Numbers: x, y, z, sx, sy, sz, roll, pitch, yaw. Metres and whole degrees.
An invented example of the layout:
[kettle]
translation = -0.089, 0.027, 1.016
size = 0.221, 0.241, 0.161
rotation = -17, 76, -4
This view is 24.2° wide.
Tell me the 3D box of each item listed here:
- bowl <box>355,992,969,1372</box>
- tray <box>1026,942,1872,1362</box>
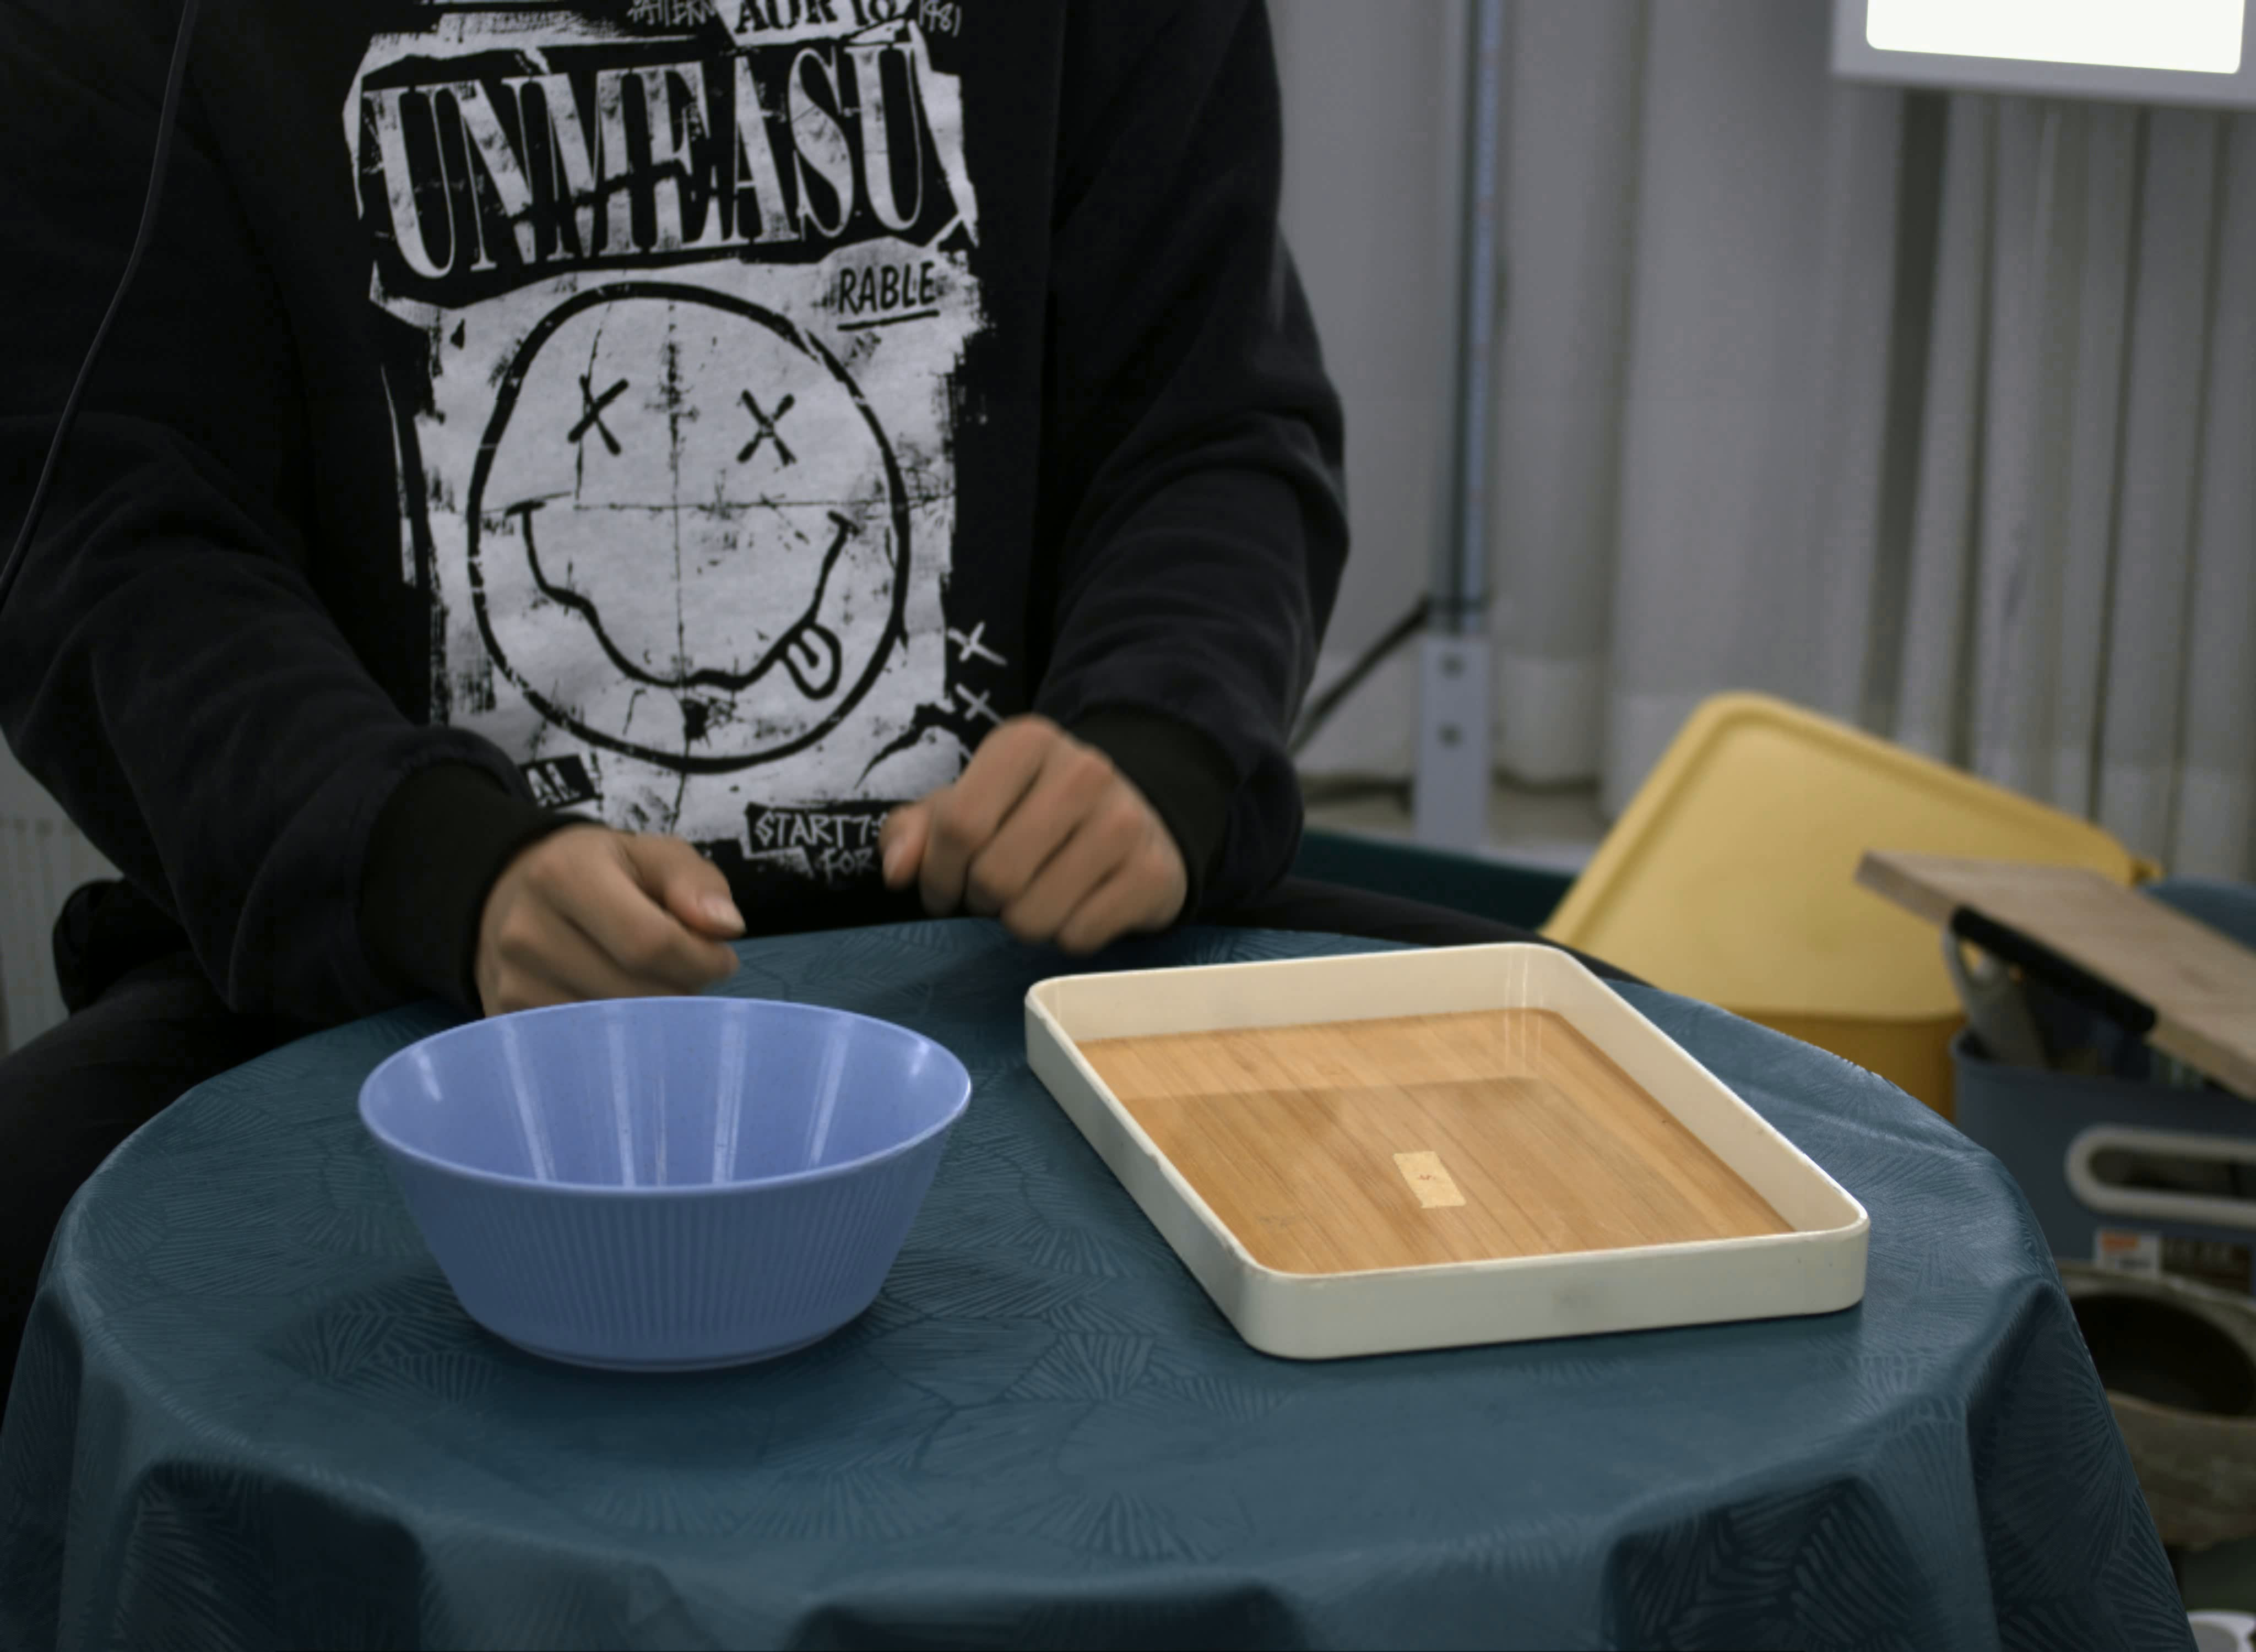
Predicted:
[bowl]
translation = -0.134, 0.105, 1.516
size = 0.175, 0.071, 0.175
rotation = 1, 17, 0
[tray]
translation = 0.092, 0.096, 1.640
size = 0.192, 0.027, 0.297
rotation = -3, 17, -15
